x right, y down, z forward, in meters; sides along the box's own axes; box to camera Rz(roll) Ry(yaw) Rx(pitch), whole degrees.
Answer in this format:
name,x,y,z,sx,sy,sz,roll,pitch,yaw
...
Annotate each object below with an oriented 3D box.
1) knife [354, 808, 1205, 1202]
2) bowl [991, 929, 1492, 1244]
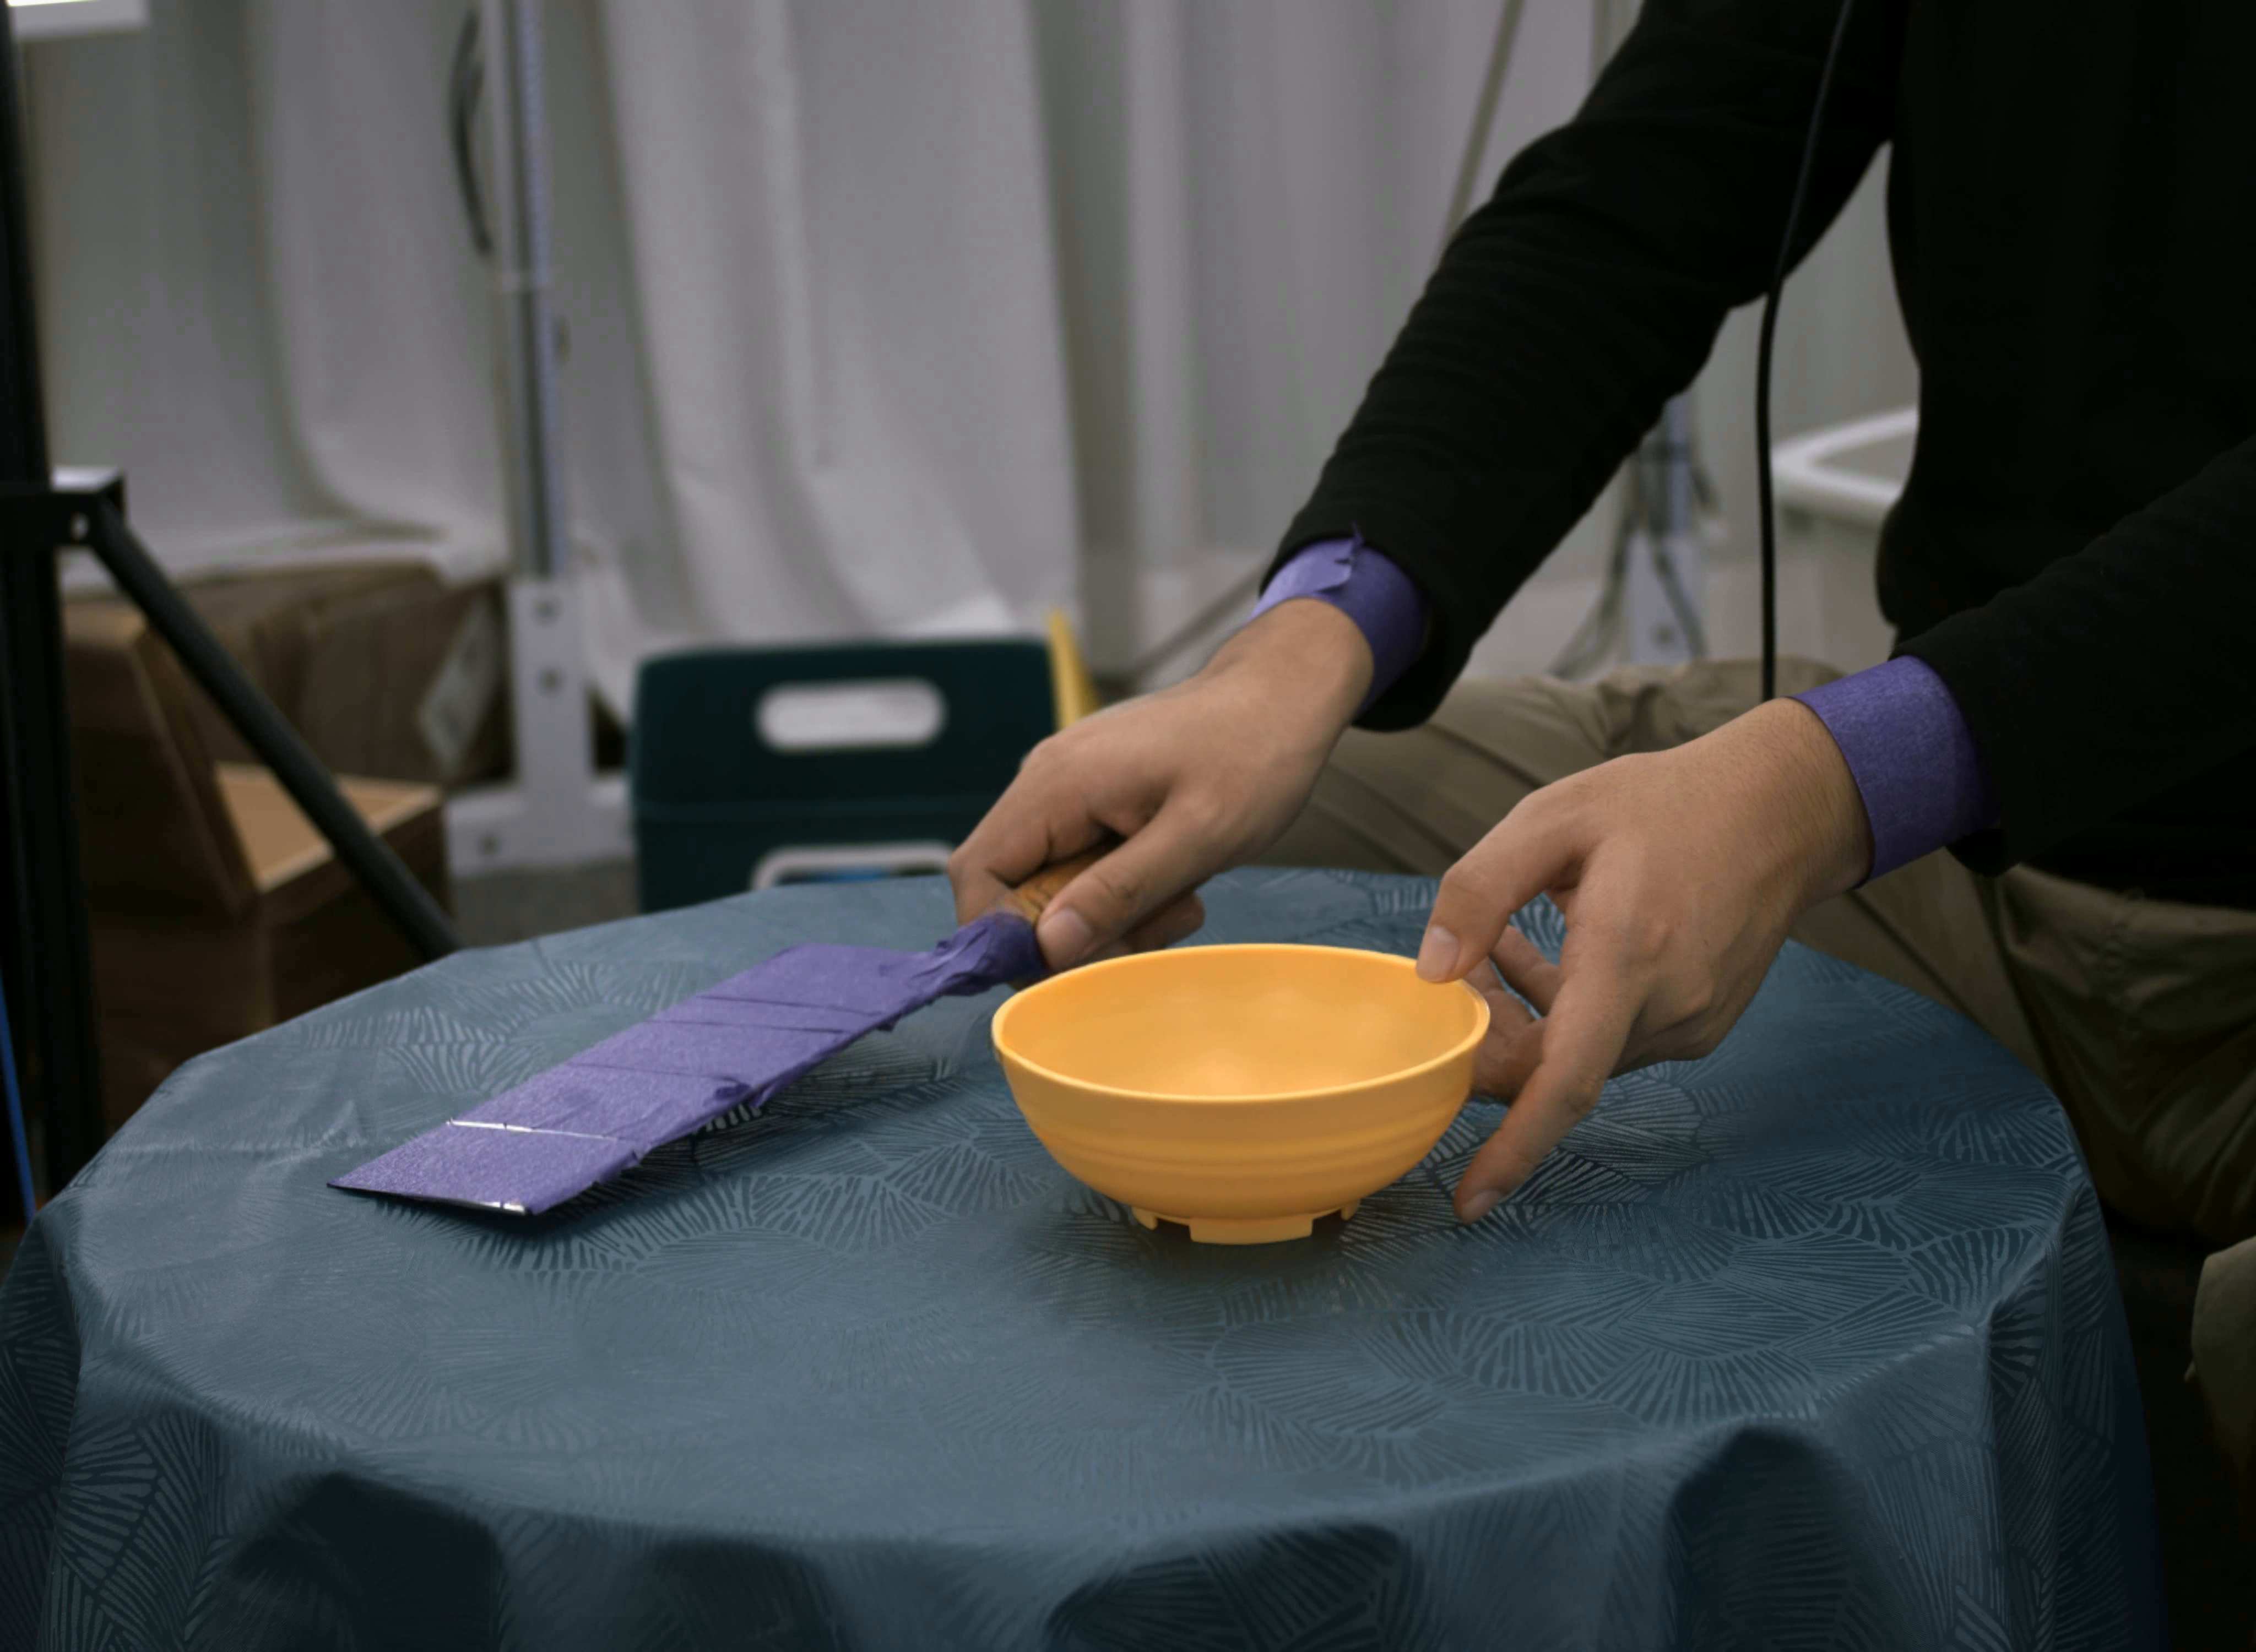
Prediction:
name,x,y,z,sx,sy,sz,roll,pitch,yaw
knife,-0.106,0.053,1.664,0.106,0.032,0.309,4,20,42
bowl,0.033,0.081,1.533,0.144,0.060,0.146,-2,17,-1
